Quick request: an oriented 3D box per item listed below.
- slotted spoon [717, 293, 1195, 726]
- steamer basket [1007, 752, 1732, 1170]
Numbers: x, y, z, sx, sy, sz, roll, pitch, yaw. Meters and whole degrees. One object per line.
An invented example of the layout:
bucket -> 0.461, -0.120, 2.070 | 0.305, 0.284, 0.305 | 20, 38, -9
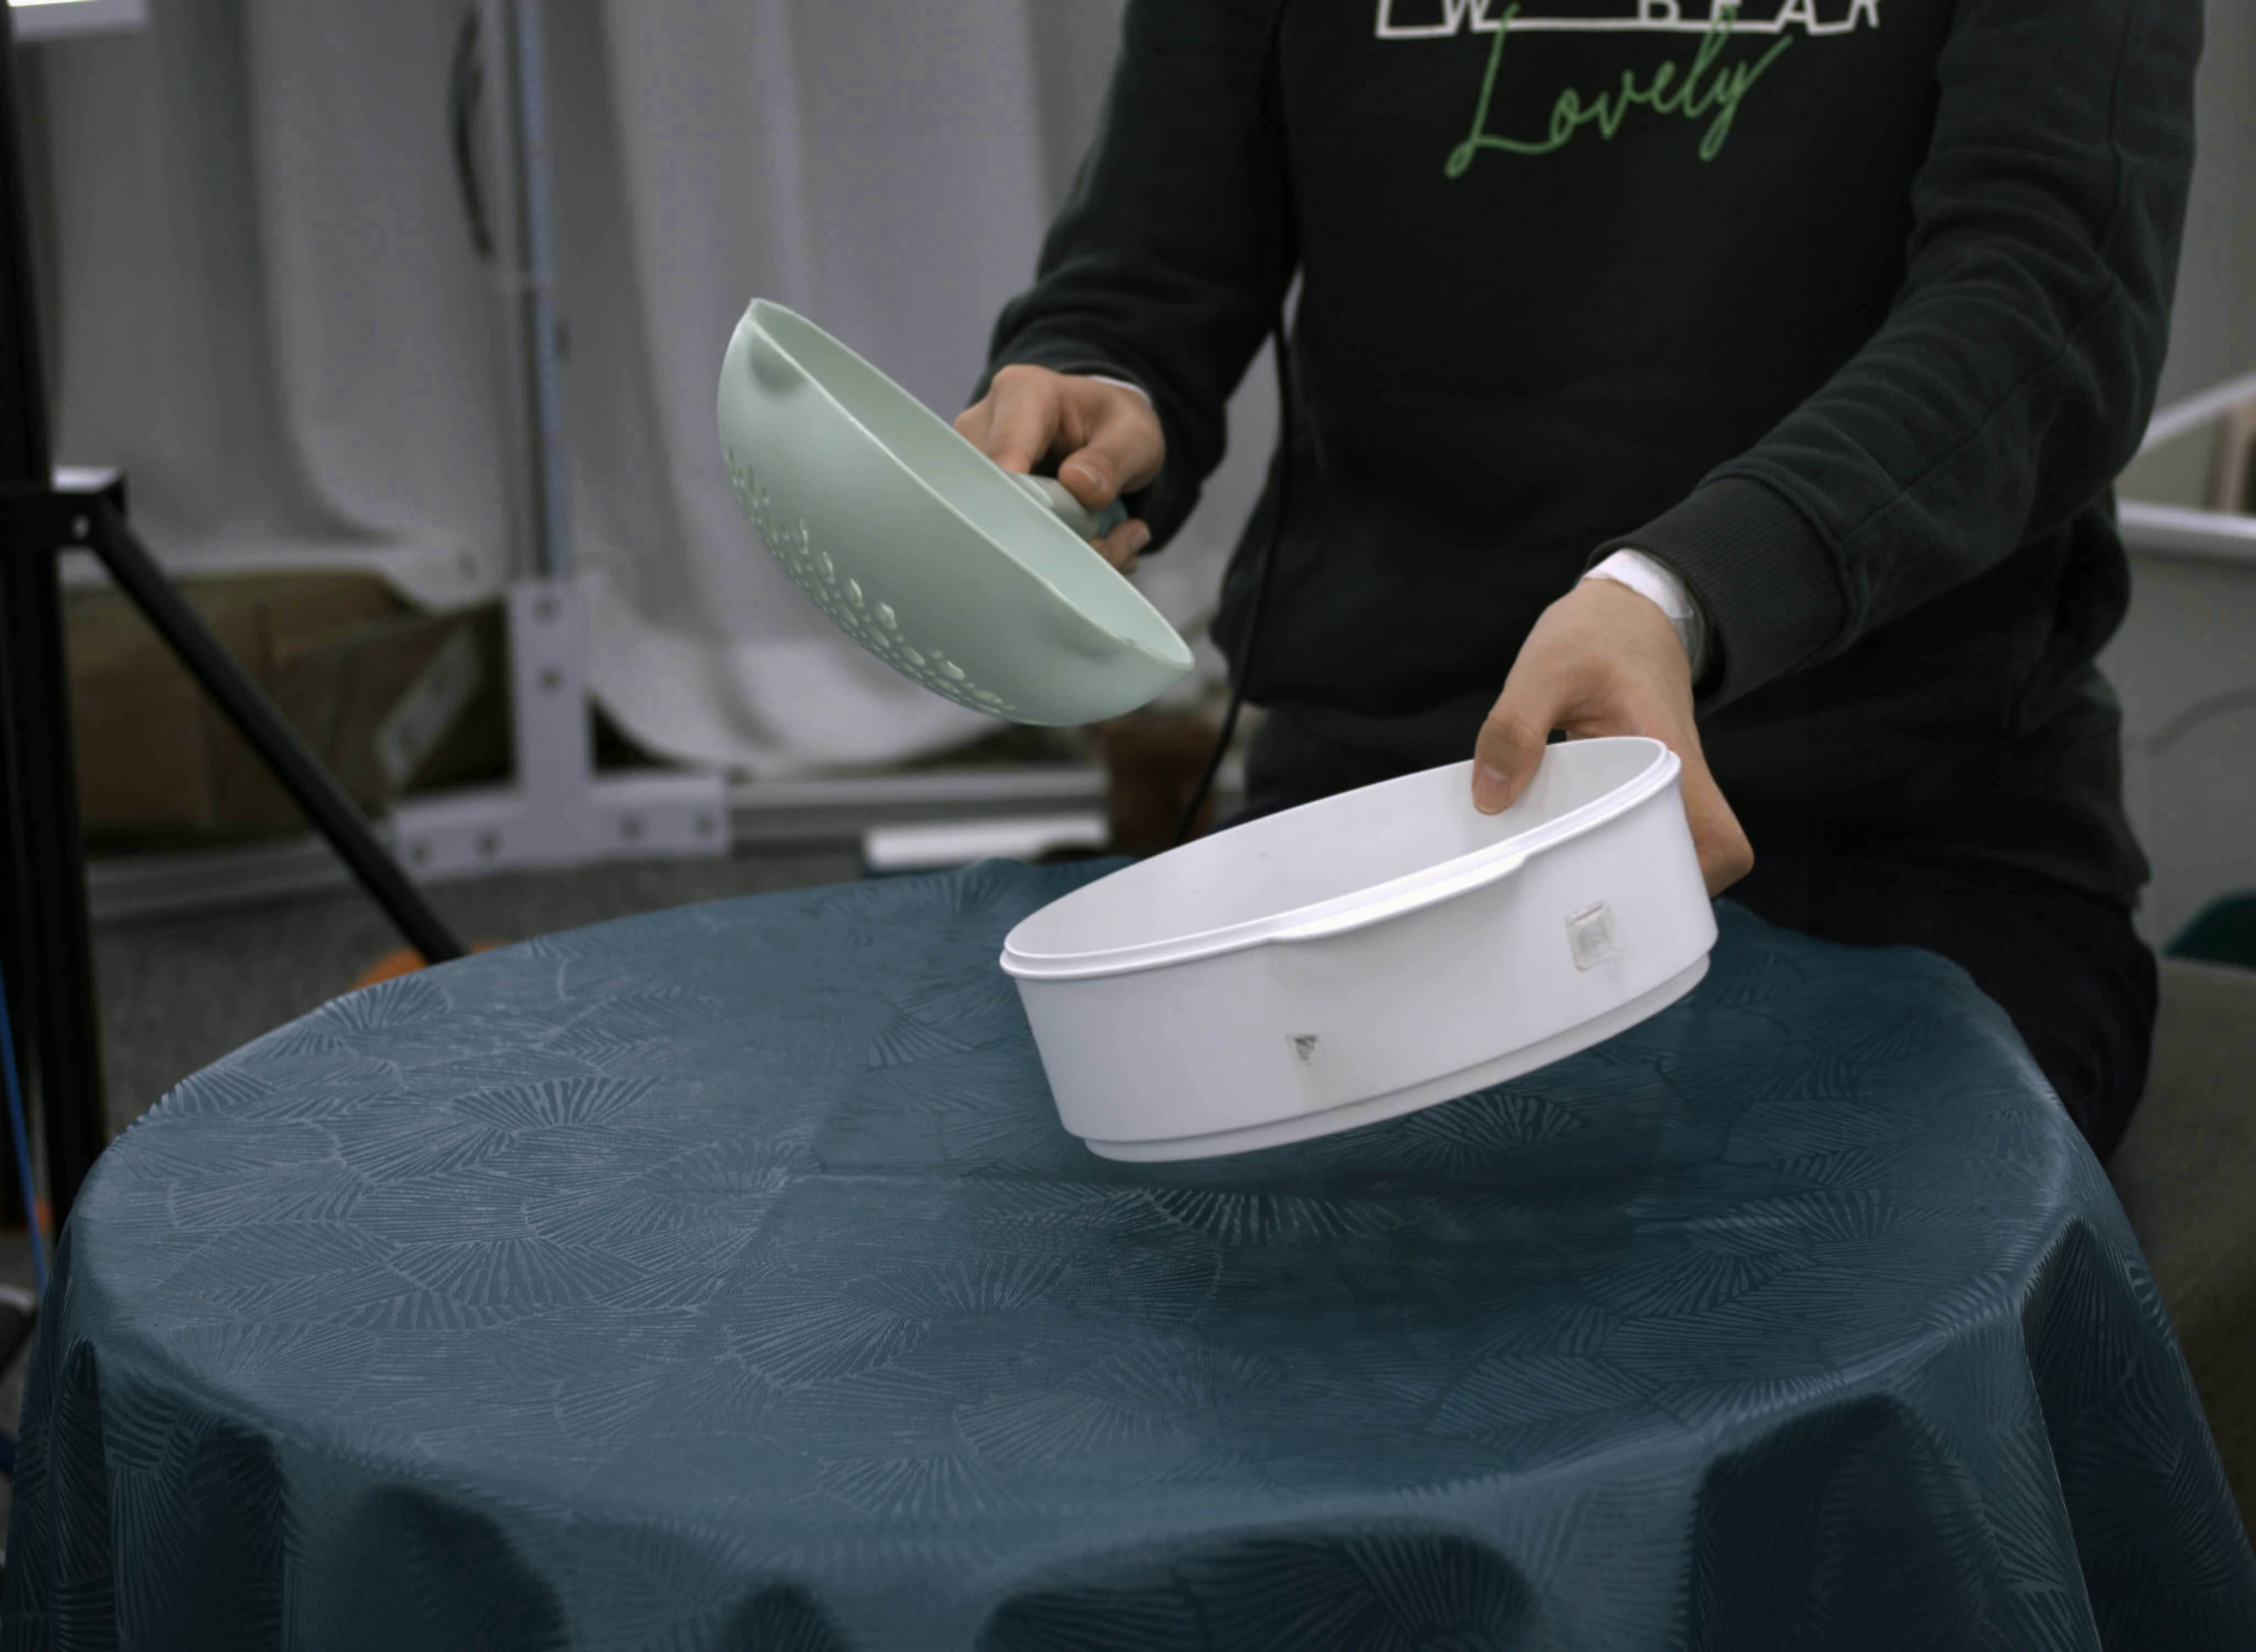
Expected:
slotted spoon -> -0.040, -0.094, 1.653 | 0.170, 0.076, 0.355 | 42, 14, 5
steamer basket -> 0.070, 0.039, 1.489 | 0.200, 0.069, 0.232 | -17, 7, -6
